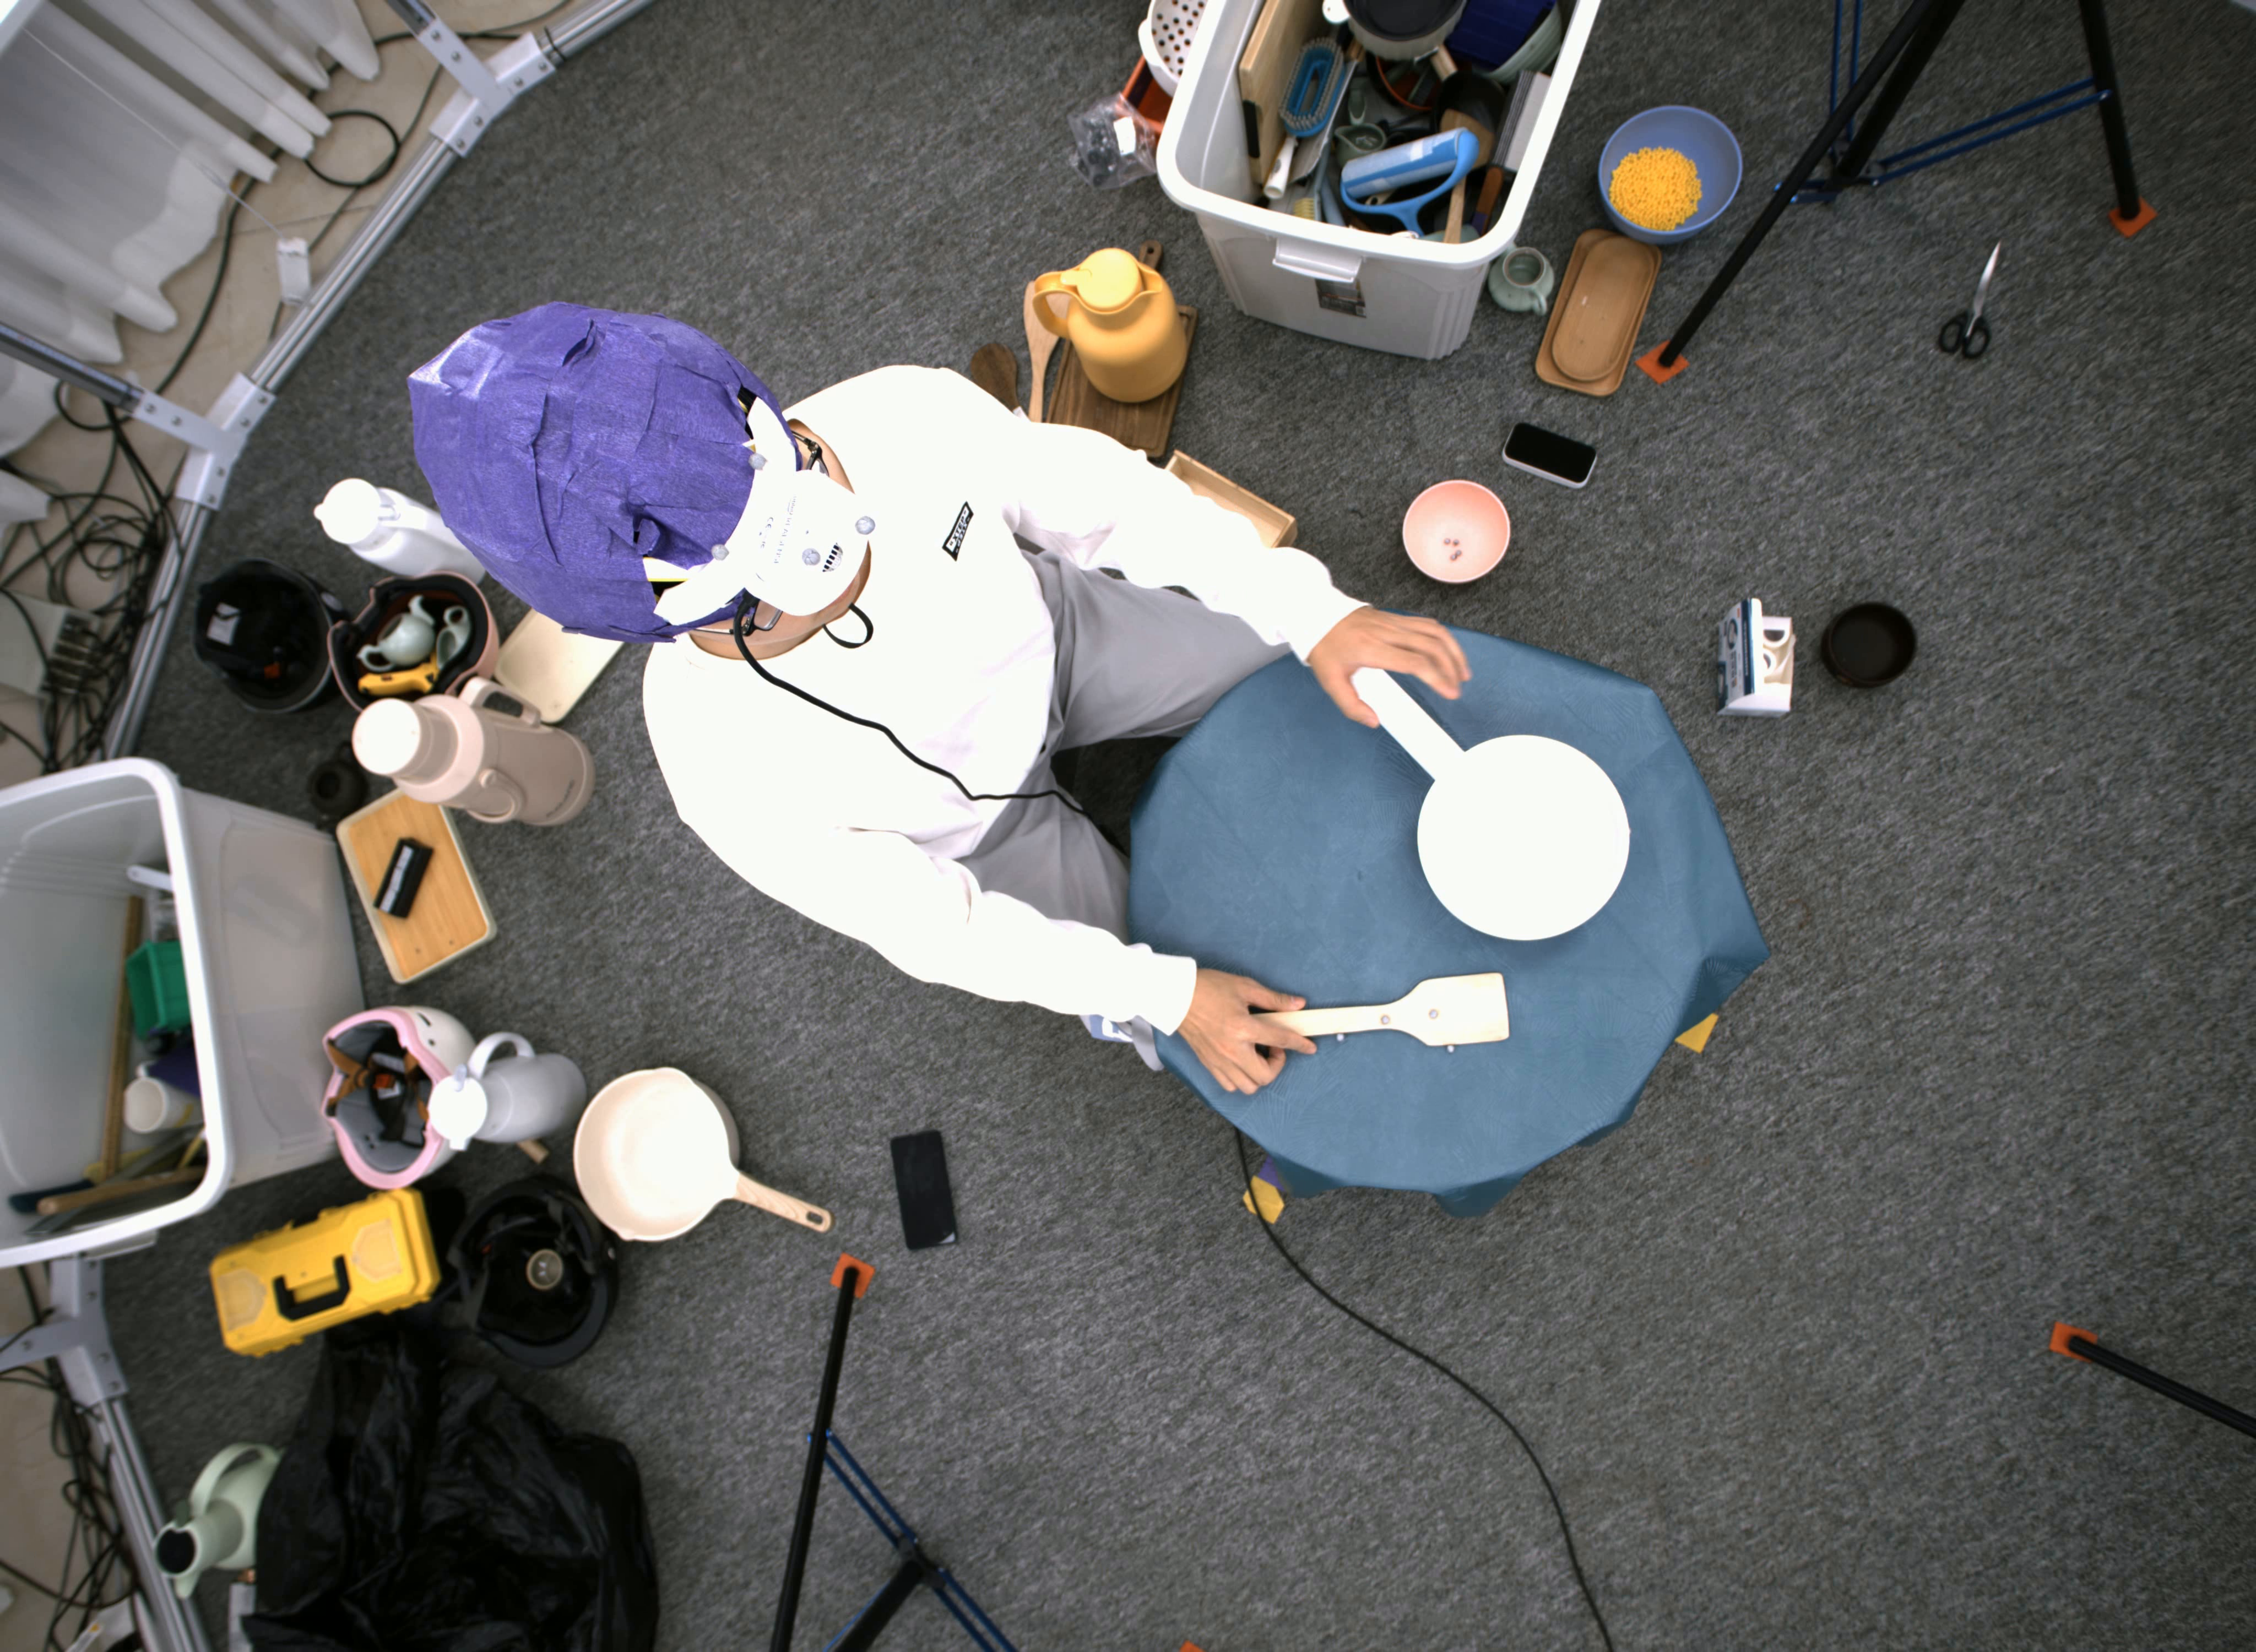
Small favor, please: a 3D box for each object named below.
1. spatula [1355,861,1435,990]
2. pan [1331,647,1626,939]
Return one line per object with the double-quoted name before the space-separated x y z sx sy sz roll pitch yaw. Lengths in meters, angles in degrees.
"spatula" 0.420 0.091 1.986 0.072 0.010 0.293 28 92 13
"pan" 0.346 -0.041 1.411 0.203 0.102 0.352 -45 77 9
